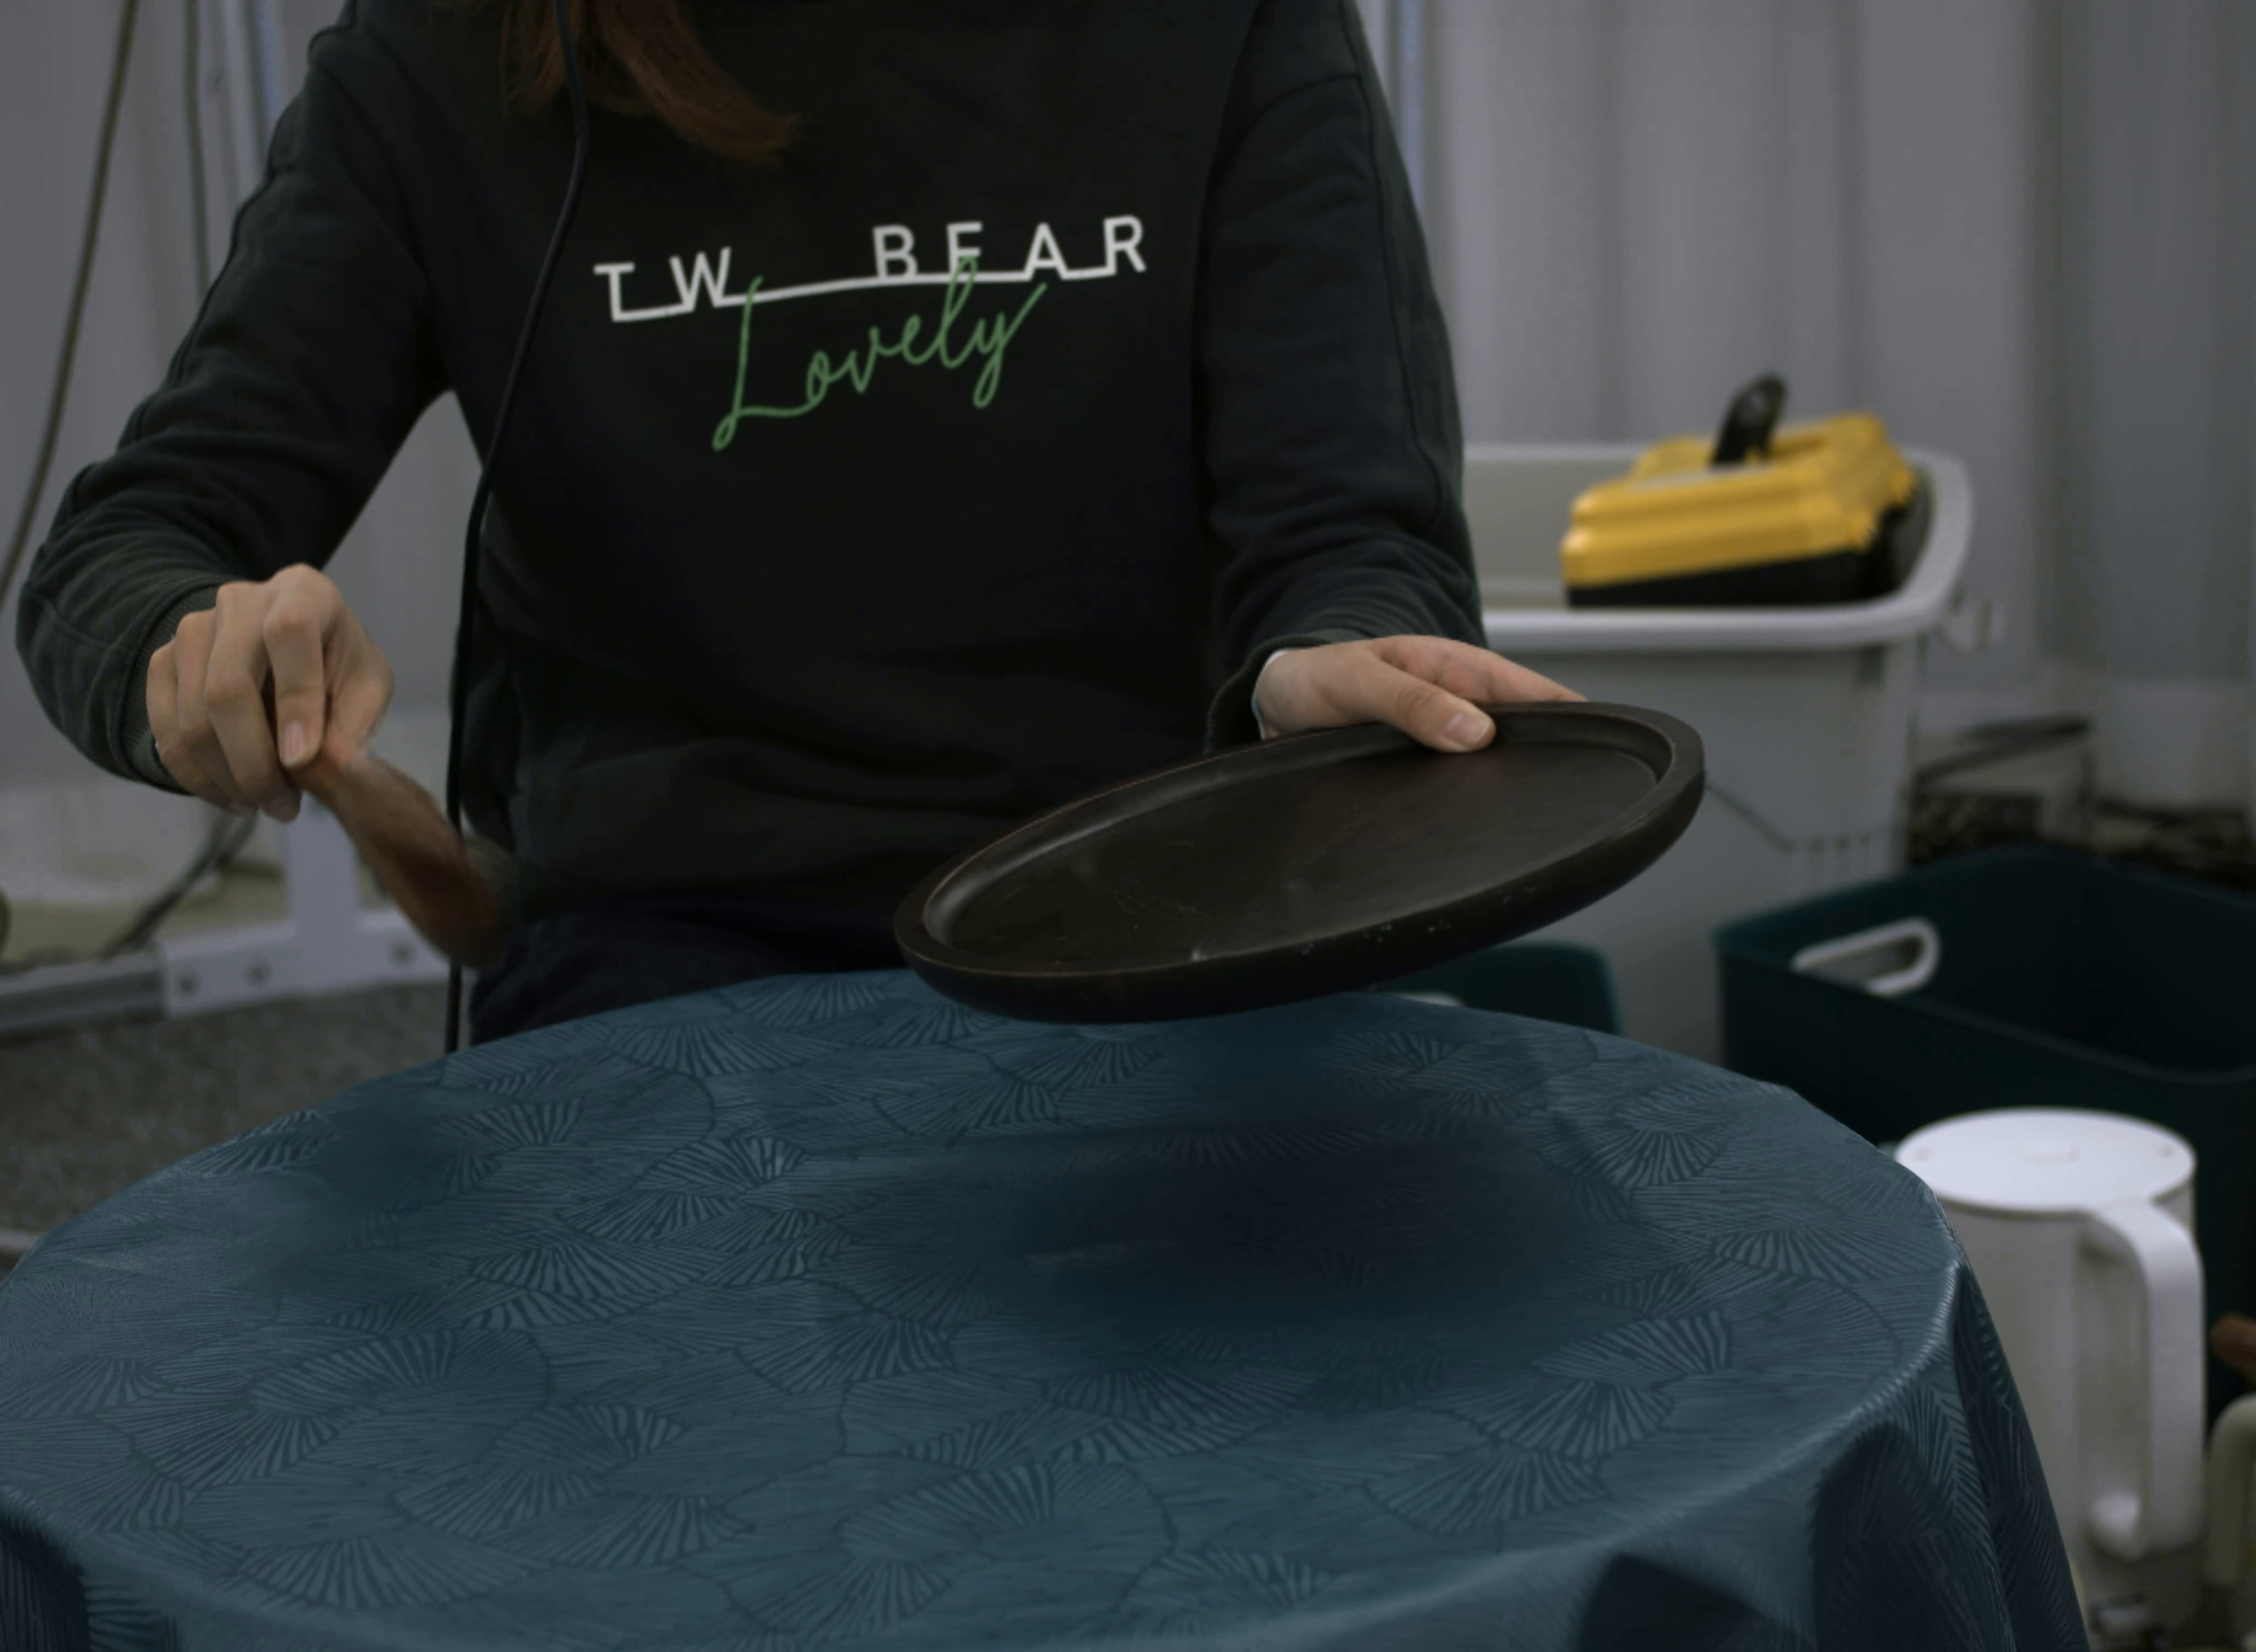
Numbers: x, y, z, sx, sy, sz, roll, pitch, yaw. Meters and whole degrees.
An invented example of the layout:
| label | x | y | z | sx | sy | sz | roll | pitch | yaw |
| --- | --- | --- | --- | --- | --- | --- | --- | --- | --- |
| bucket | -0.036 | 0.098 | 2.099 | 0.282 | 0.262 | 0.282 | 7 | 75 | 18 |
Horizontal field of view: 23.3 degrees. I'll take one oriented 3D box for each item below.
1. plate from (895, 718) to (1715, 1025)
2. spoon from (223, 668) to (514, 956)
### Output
| label | x | y | z | sx | sy | sz | roll | pitch | yaw |
| --- | --- | --- | --- | --- | --- | --- | --- | --- | --- |
| plate | 0.054 | 0.011 | 1.662 | 0.254 | 0.029 | 0.256 | -11 | 15 | 3 |
| spoon | -0.235 | -0.010 | 1.652 | 0.017 | 0.075 | 0.218 | -32 | 27 | -15 |
